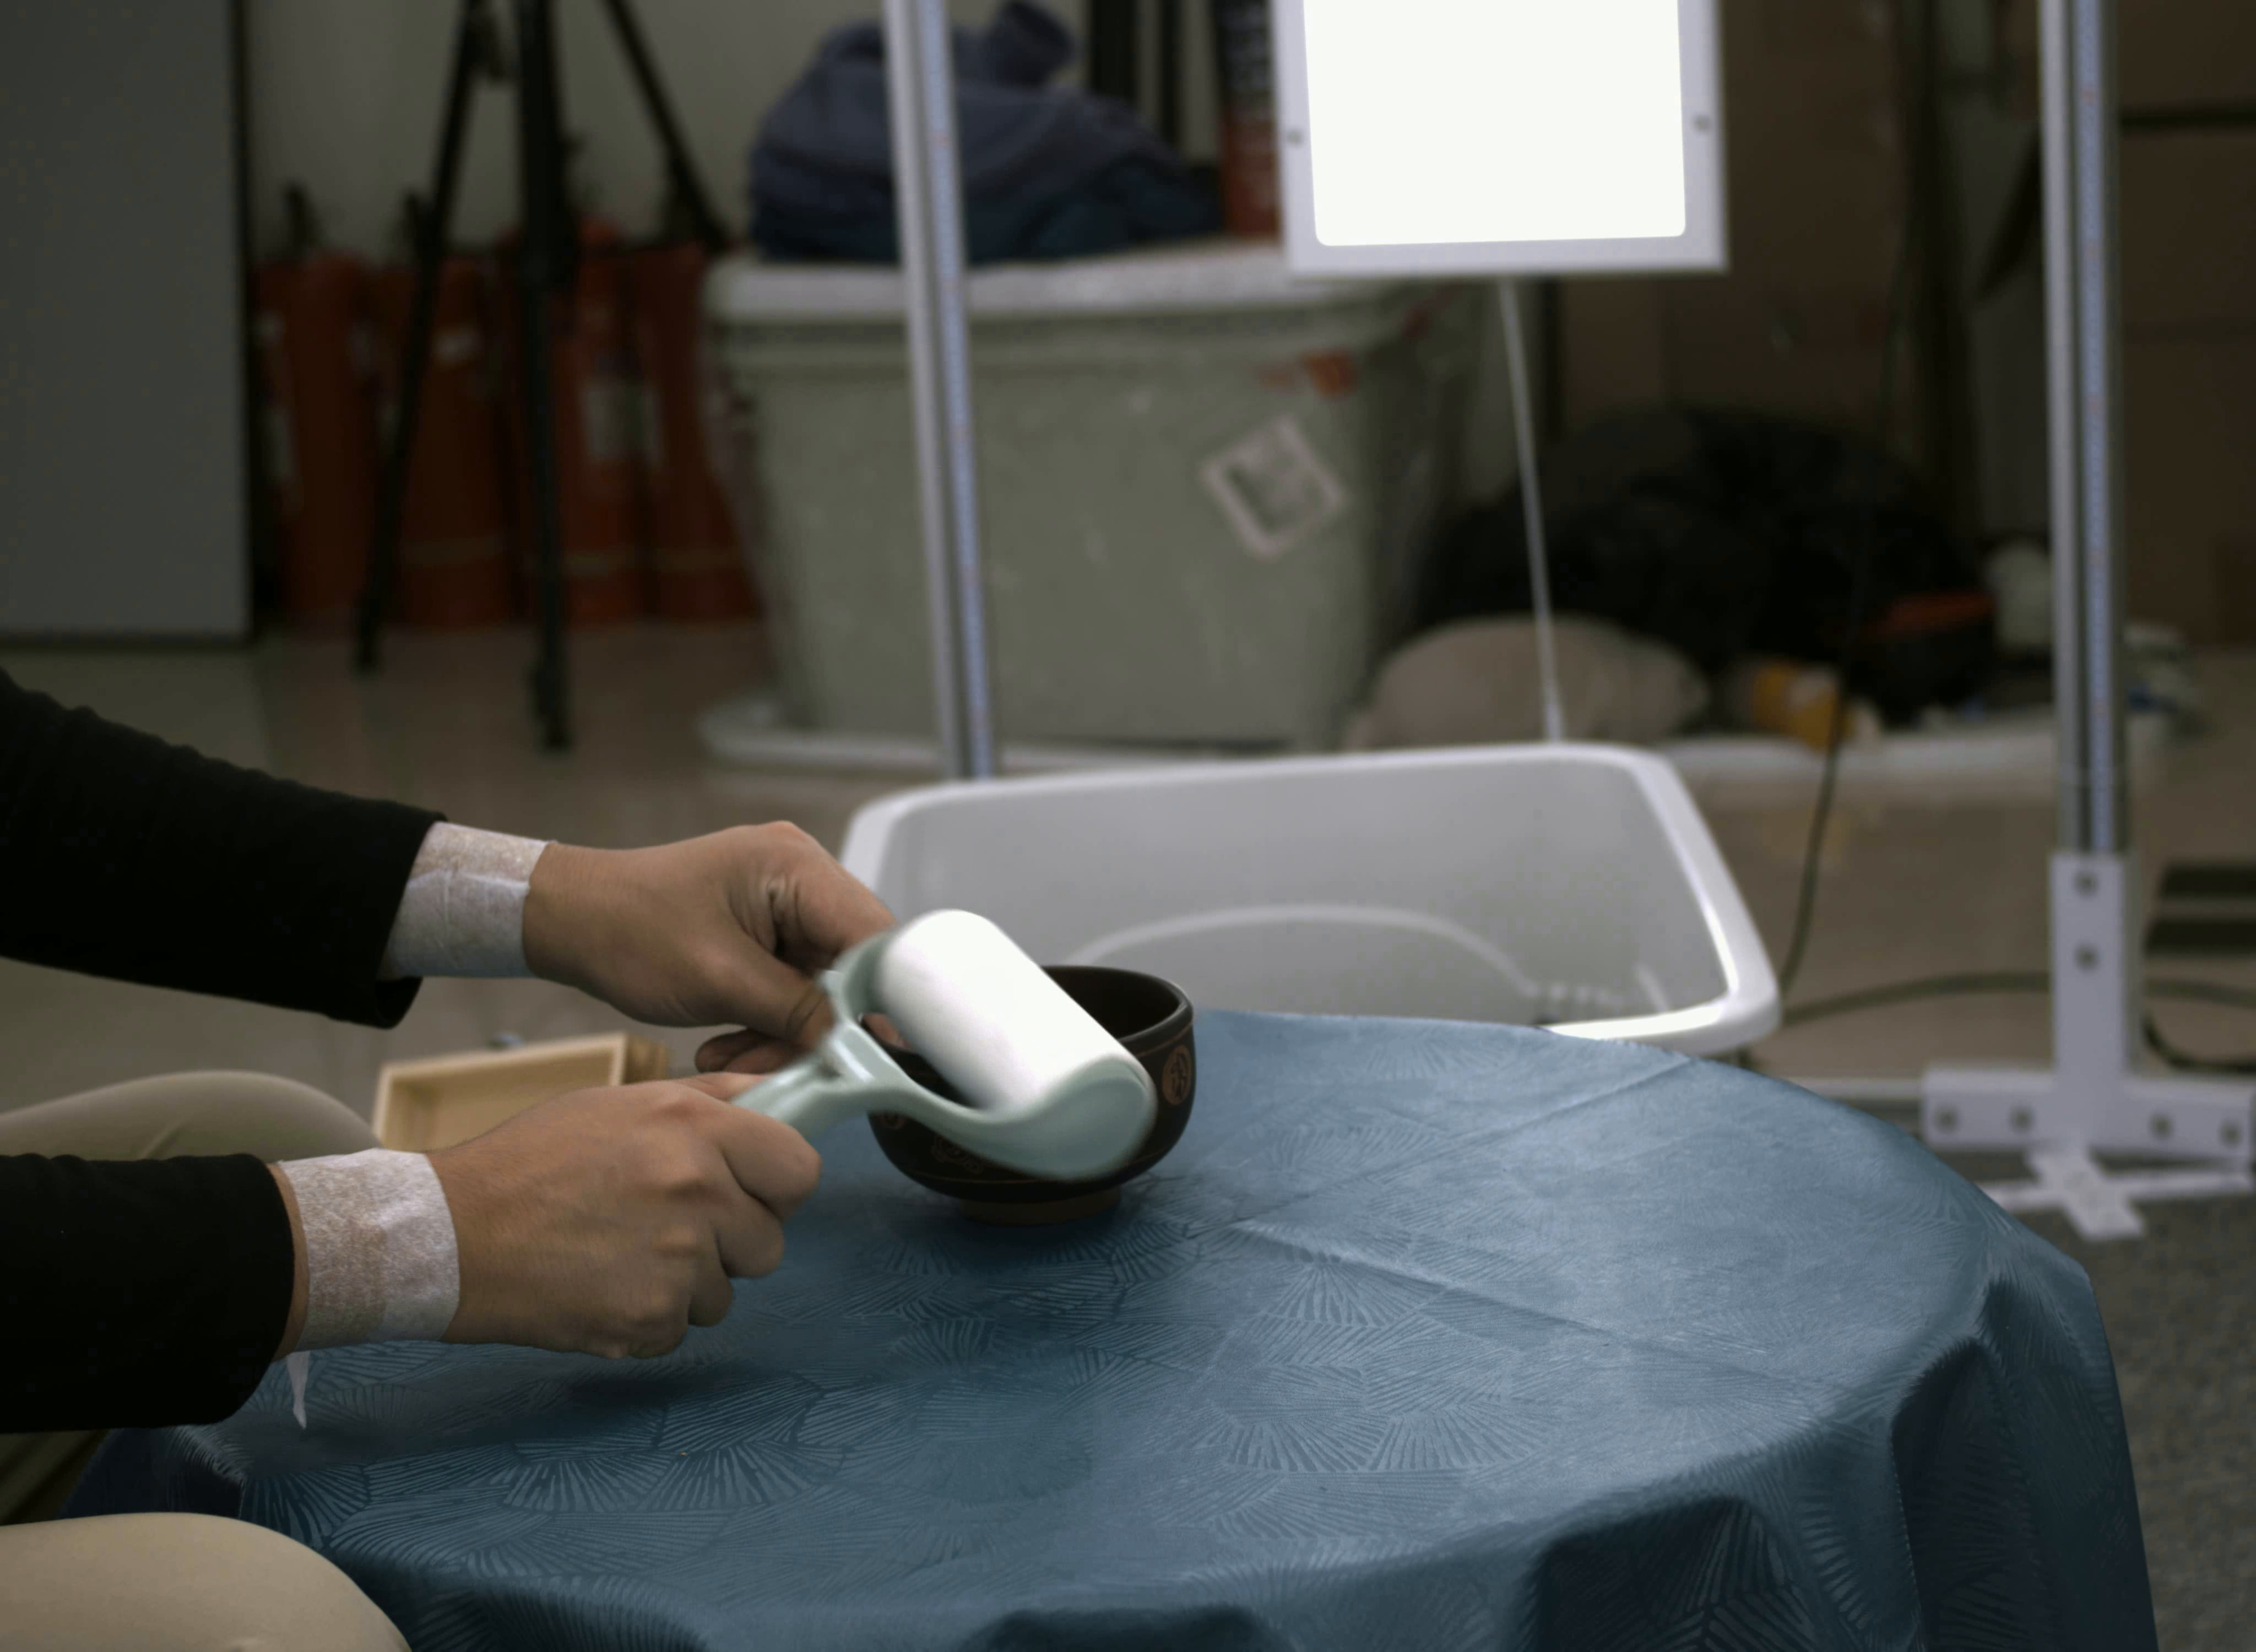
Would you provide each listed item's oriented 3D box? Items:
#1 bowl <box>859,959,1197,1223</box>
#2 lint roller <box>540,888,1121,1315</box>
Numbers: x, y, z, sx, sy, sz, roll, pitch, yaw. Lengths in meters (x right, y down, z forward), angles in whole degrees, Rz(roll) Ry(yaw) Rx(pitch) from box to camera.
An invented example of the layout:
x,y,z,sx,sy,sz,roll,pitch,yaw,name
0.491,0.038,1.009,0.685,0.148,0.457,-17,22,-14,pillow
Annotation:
x,y,z,sx,sy,sz,roll,pitch,yaw,name
-0.033,0.094,1.890,0.118,0.070,0.118,-6,15,0,bowl
-0.109,0.093,1.783,0.194,0.048,0.118,-27,39,-22,lint roller
